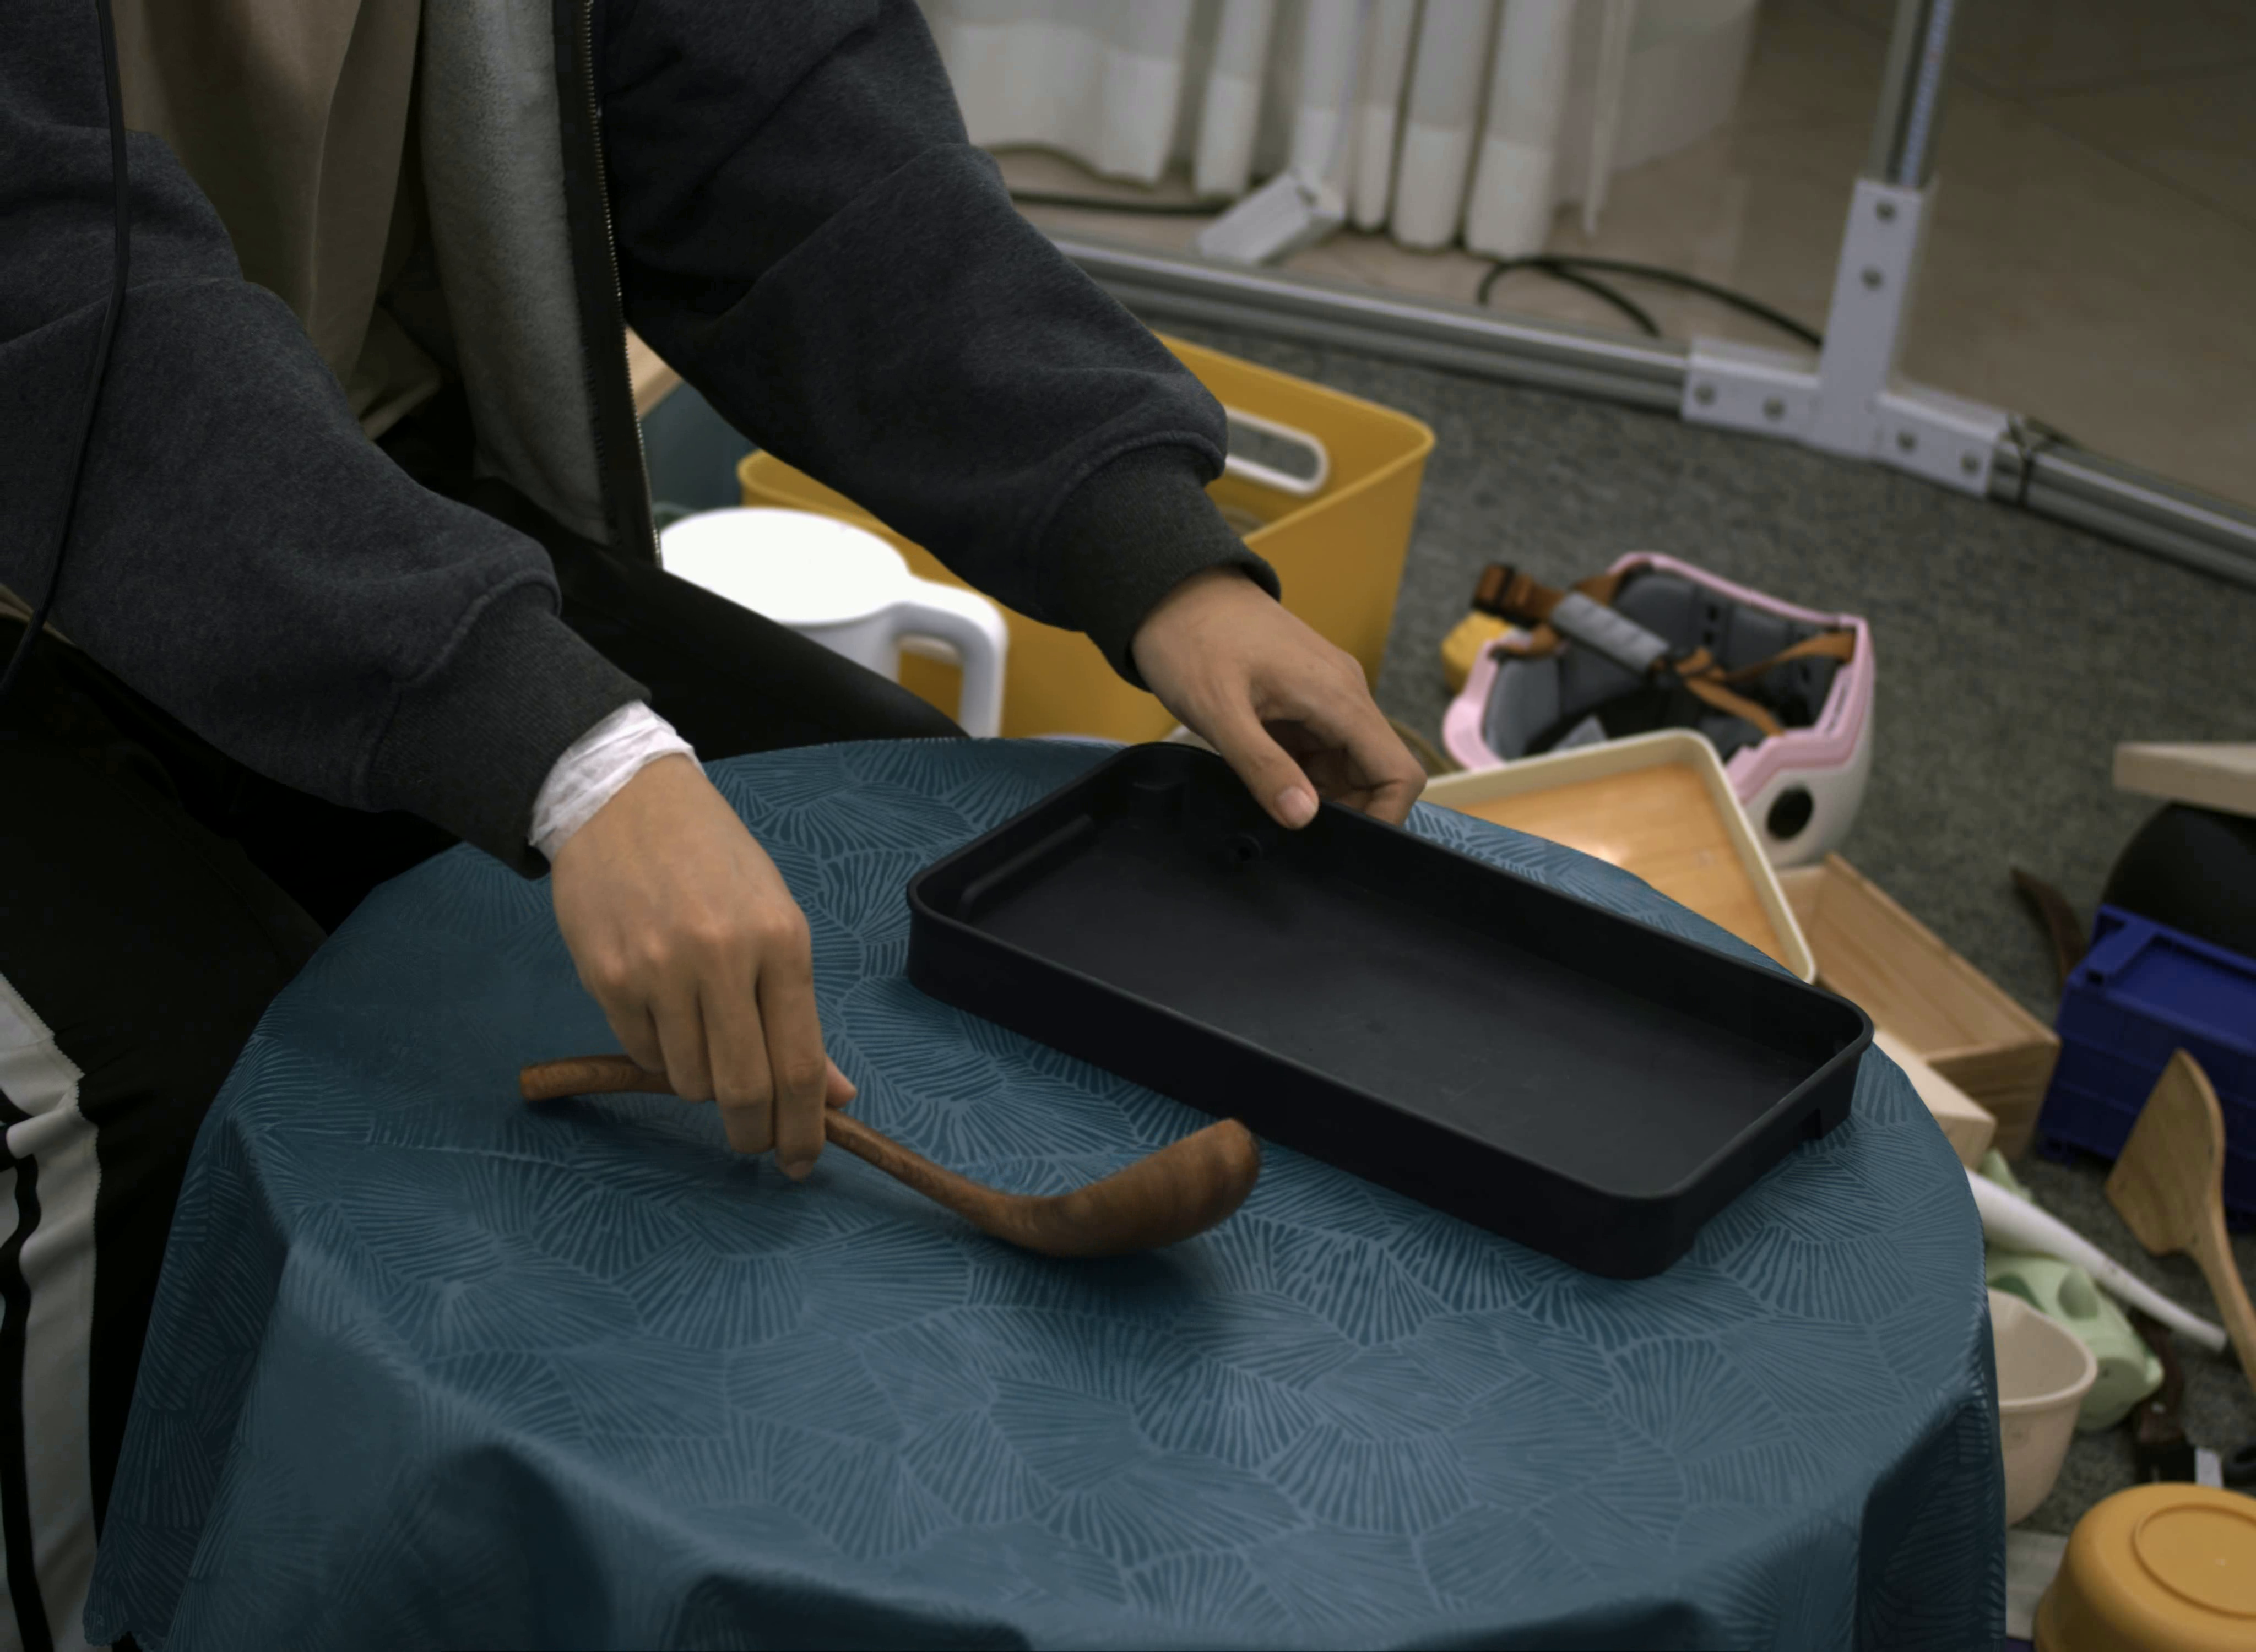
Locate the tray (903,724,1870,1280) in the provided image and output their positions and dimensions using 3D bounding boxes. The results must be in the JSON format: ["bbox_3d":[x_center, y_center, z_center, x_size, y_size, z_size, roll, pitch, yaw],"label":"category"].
[{"bbox_3d":[0.090,0.058,1.905,0.319,0.037,0.184,23,31,27],"label":"tray"}]

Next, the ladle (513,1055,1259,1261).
[{"bbox_3d":[-0.082,0.094,1.772,0.261,0.065,0.076,15,1,18],"label":"ladle"}]
